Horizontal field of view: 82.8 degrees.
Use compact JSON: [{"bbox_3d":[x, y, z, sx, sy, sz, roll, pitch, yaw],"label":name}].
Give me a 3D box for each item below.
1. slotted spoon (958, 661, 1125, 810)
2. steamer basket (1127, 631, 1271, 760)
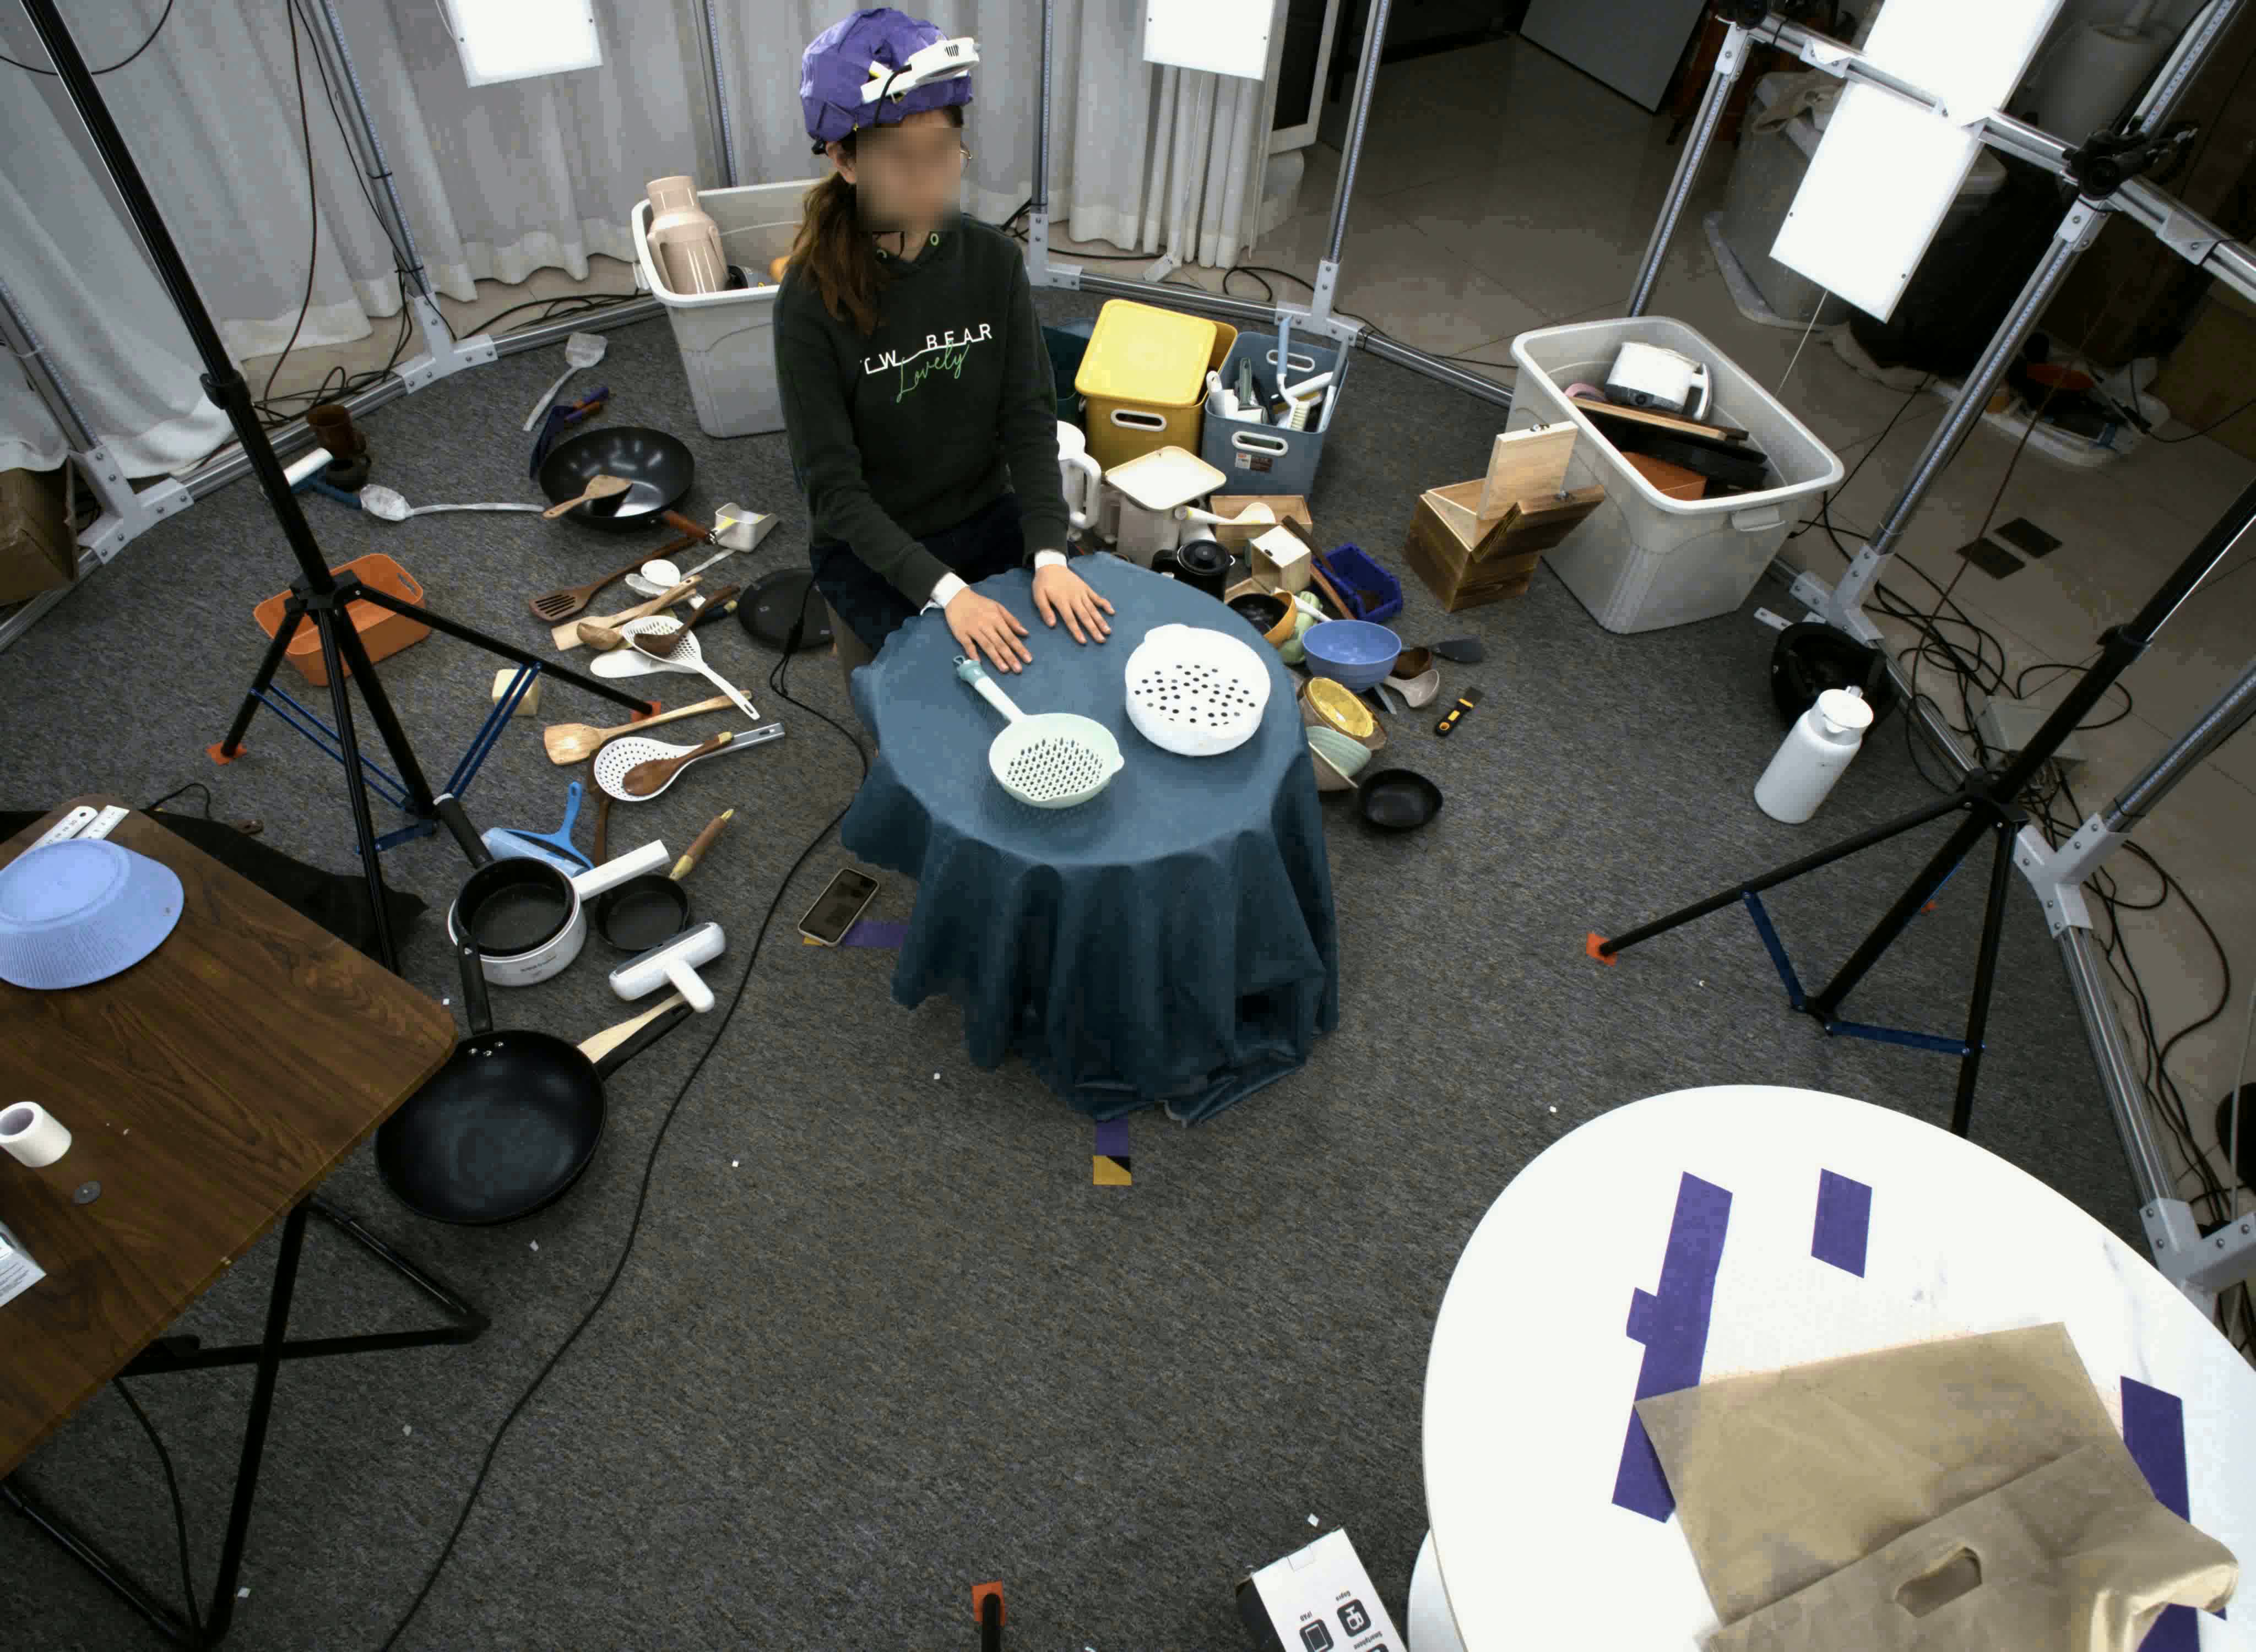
[{"bbox_3d":[-0.147,-0.140,1.755,0.170,0.073,0.366,-23,54,-23],"label":"slotted spoon"},{"bbox_3d":[0.098,-0.181,1.807,0.202,0.067,0.236,-18,52,-19],"label":"steamer basket"}]
